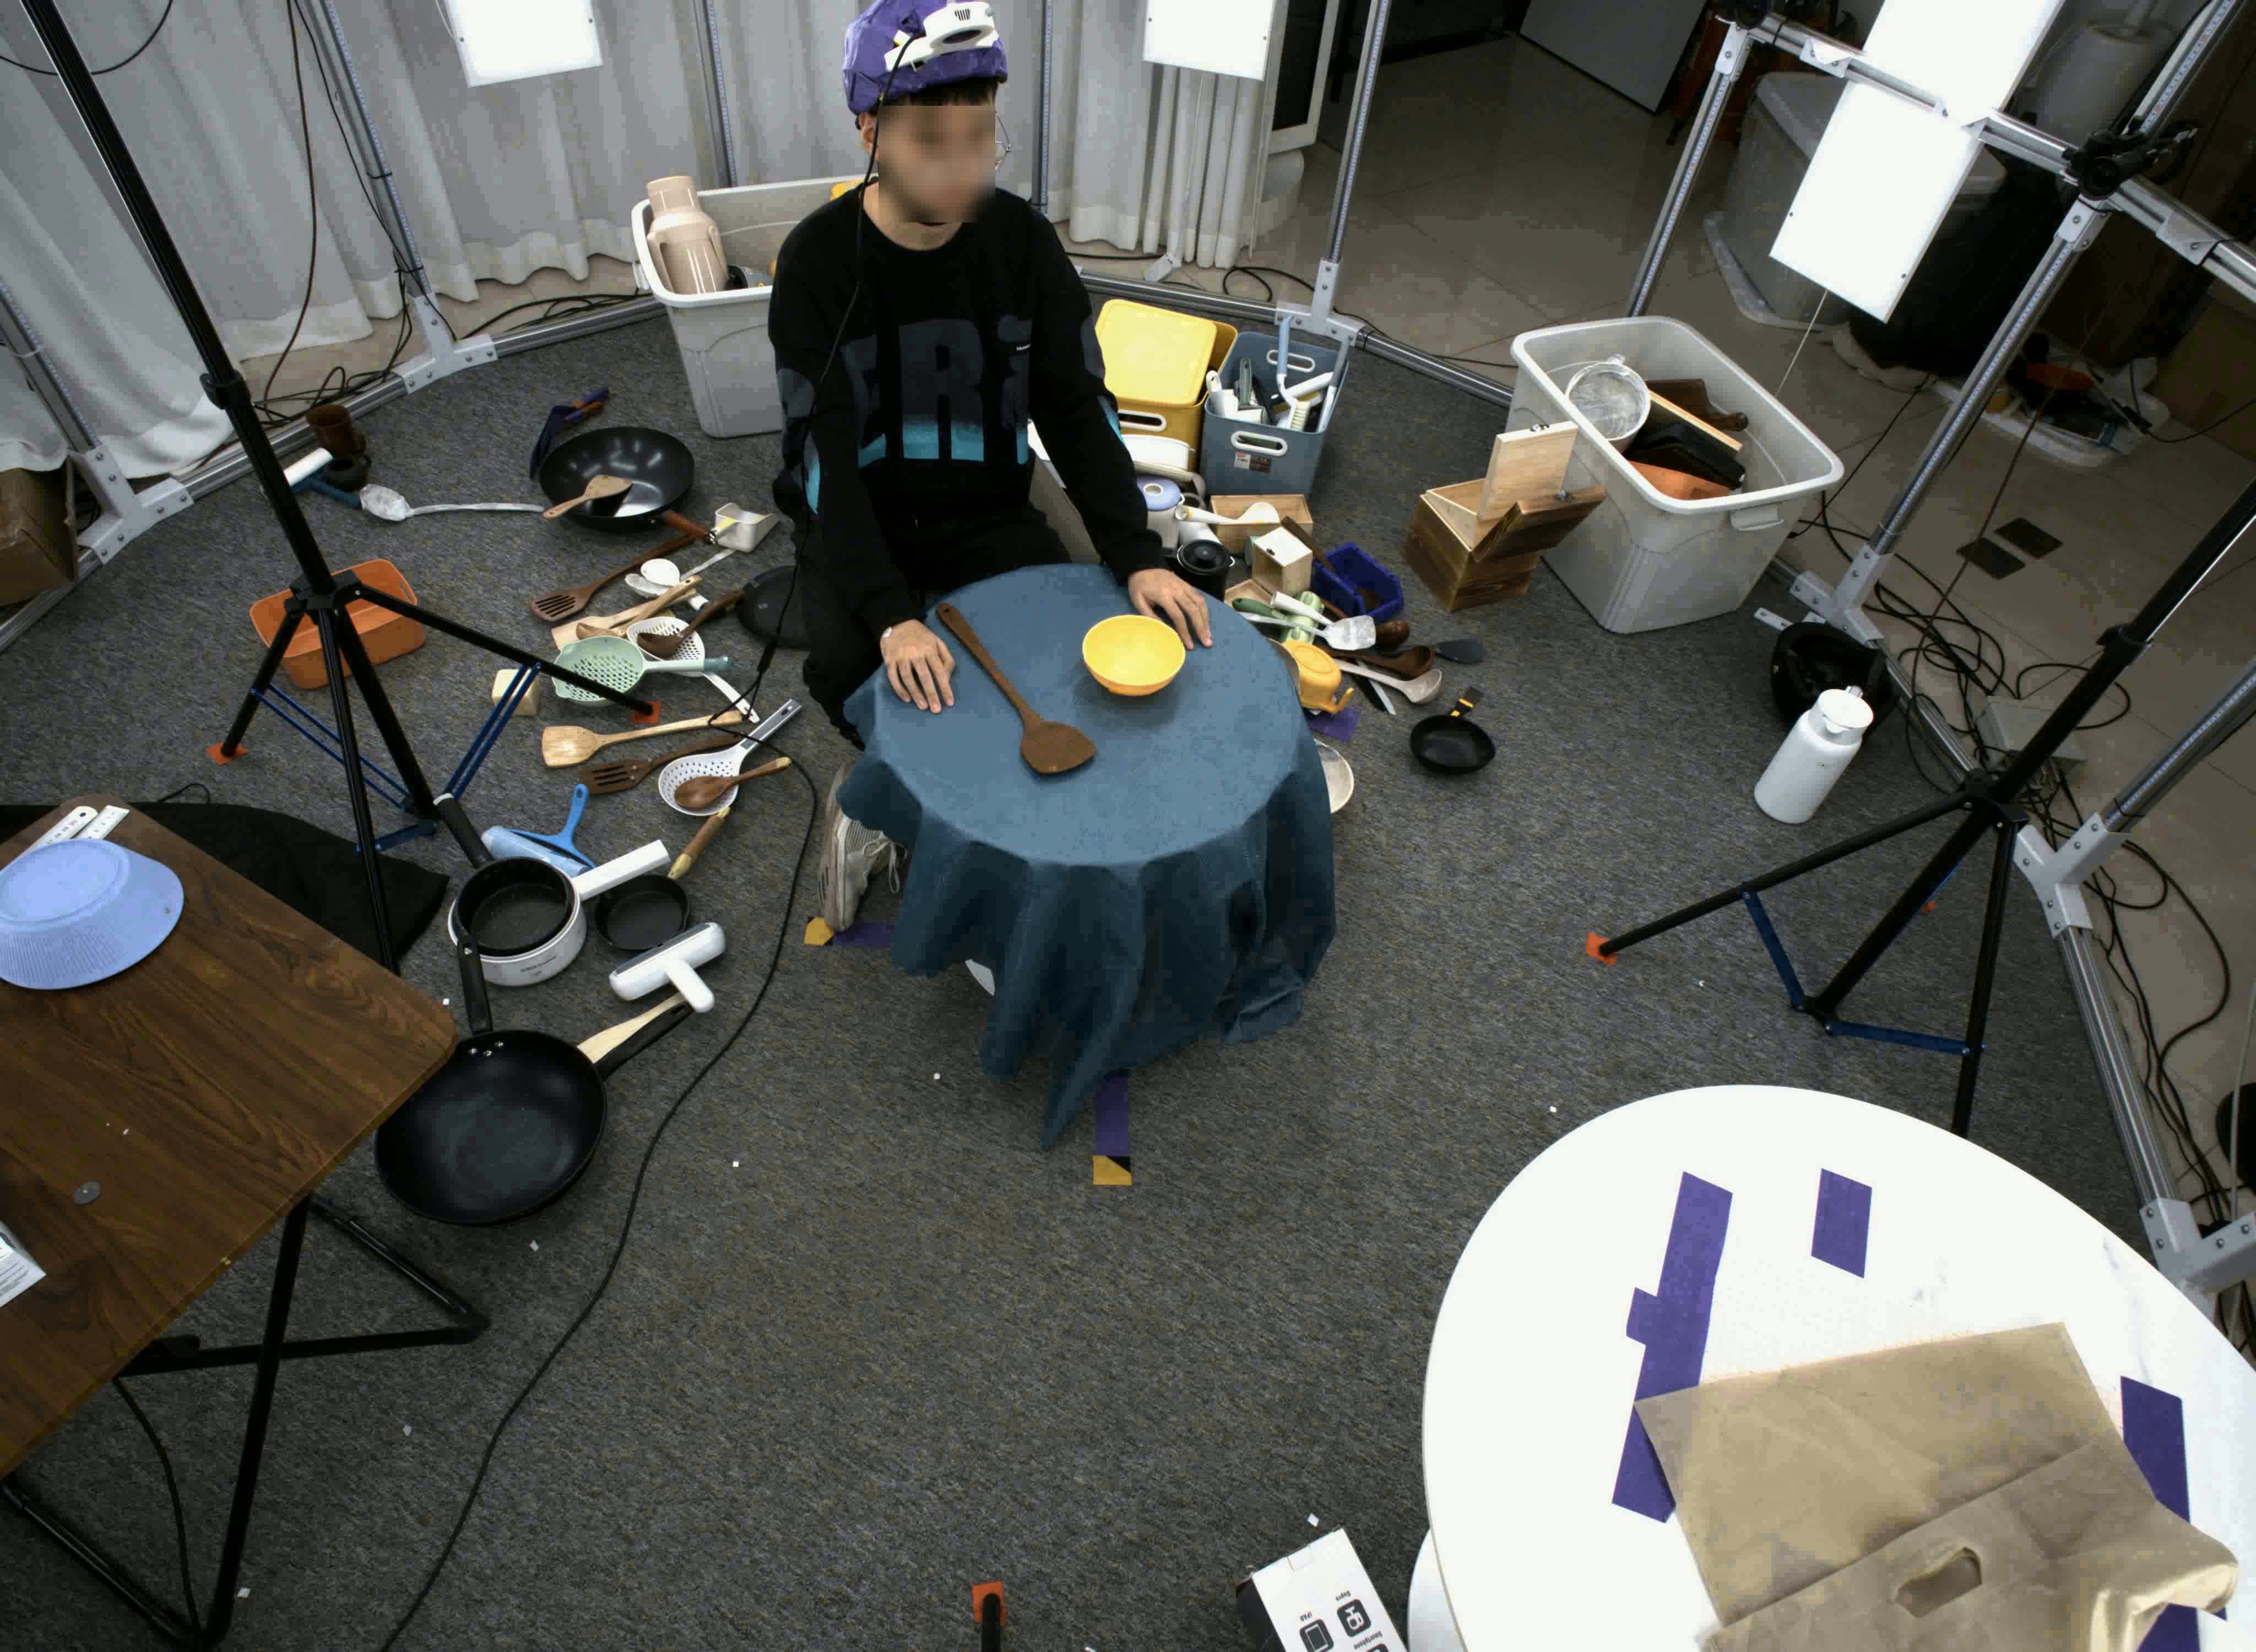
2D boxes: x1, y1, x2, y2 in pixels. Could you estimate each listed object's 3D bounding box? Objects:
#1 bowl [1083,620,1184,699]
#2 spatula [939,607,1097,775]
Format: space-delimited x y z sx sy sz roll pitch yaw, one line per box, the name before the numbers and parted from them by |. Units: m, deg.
bowl | 0.006 -0.228 1.849 0.145 0.058 0.149 3 46 -4
spatula | -0.176 -0.204 1.842 0.096 0.015 0.394 -23 54 -23
